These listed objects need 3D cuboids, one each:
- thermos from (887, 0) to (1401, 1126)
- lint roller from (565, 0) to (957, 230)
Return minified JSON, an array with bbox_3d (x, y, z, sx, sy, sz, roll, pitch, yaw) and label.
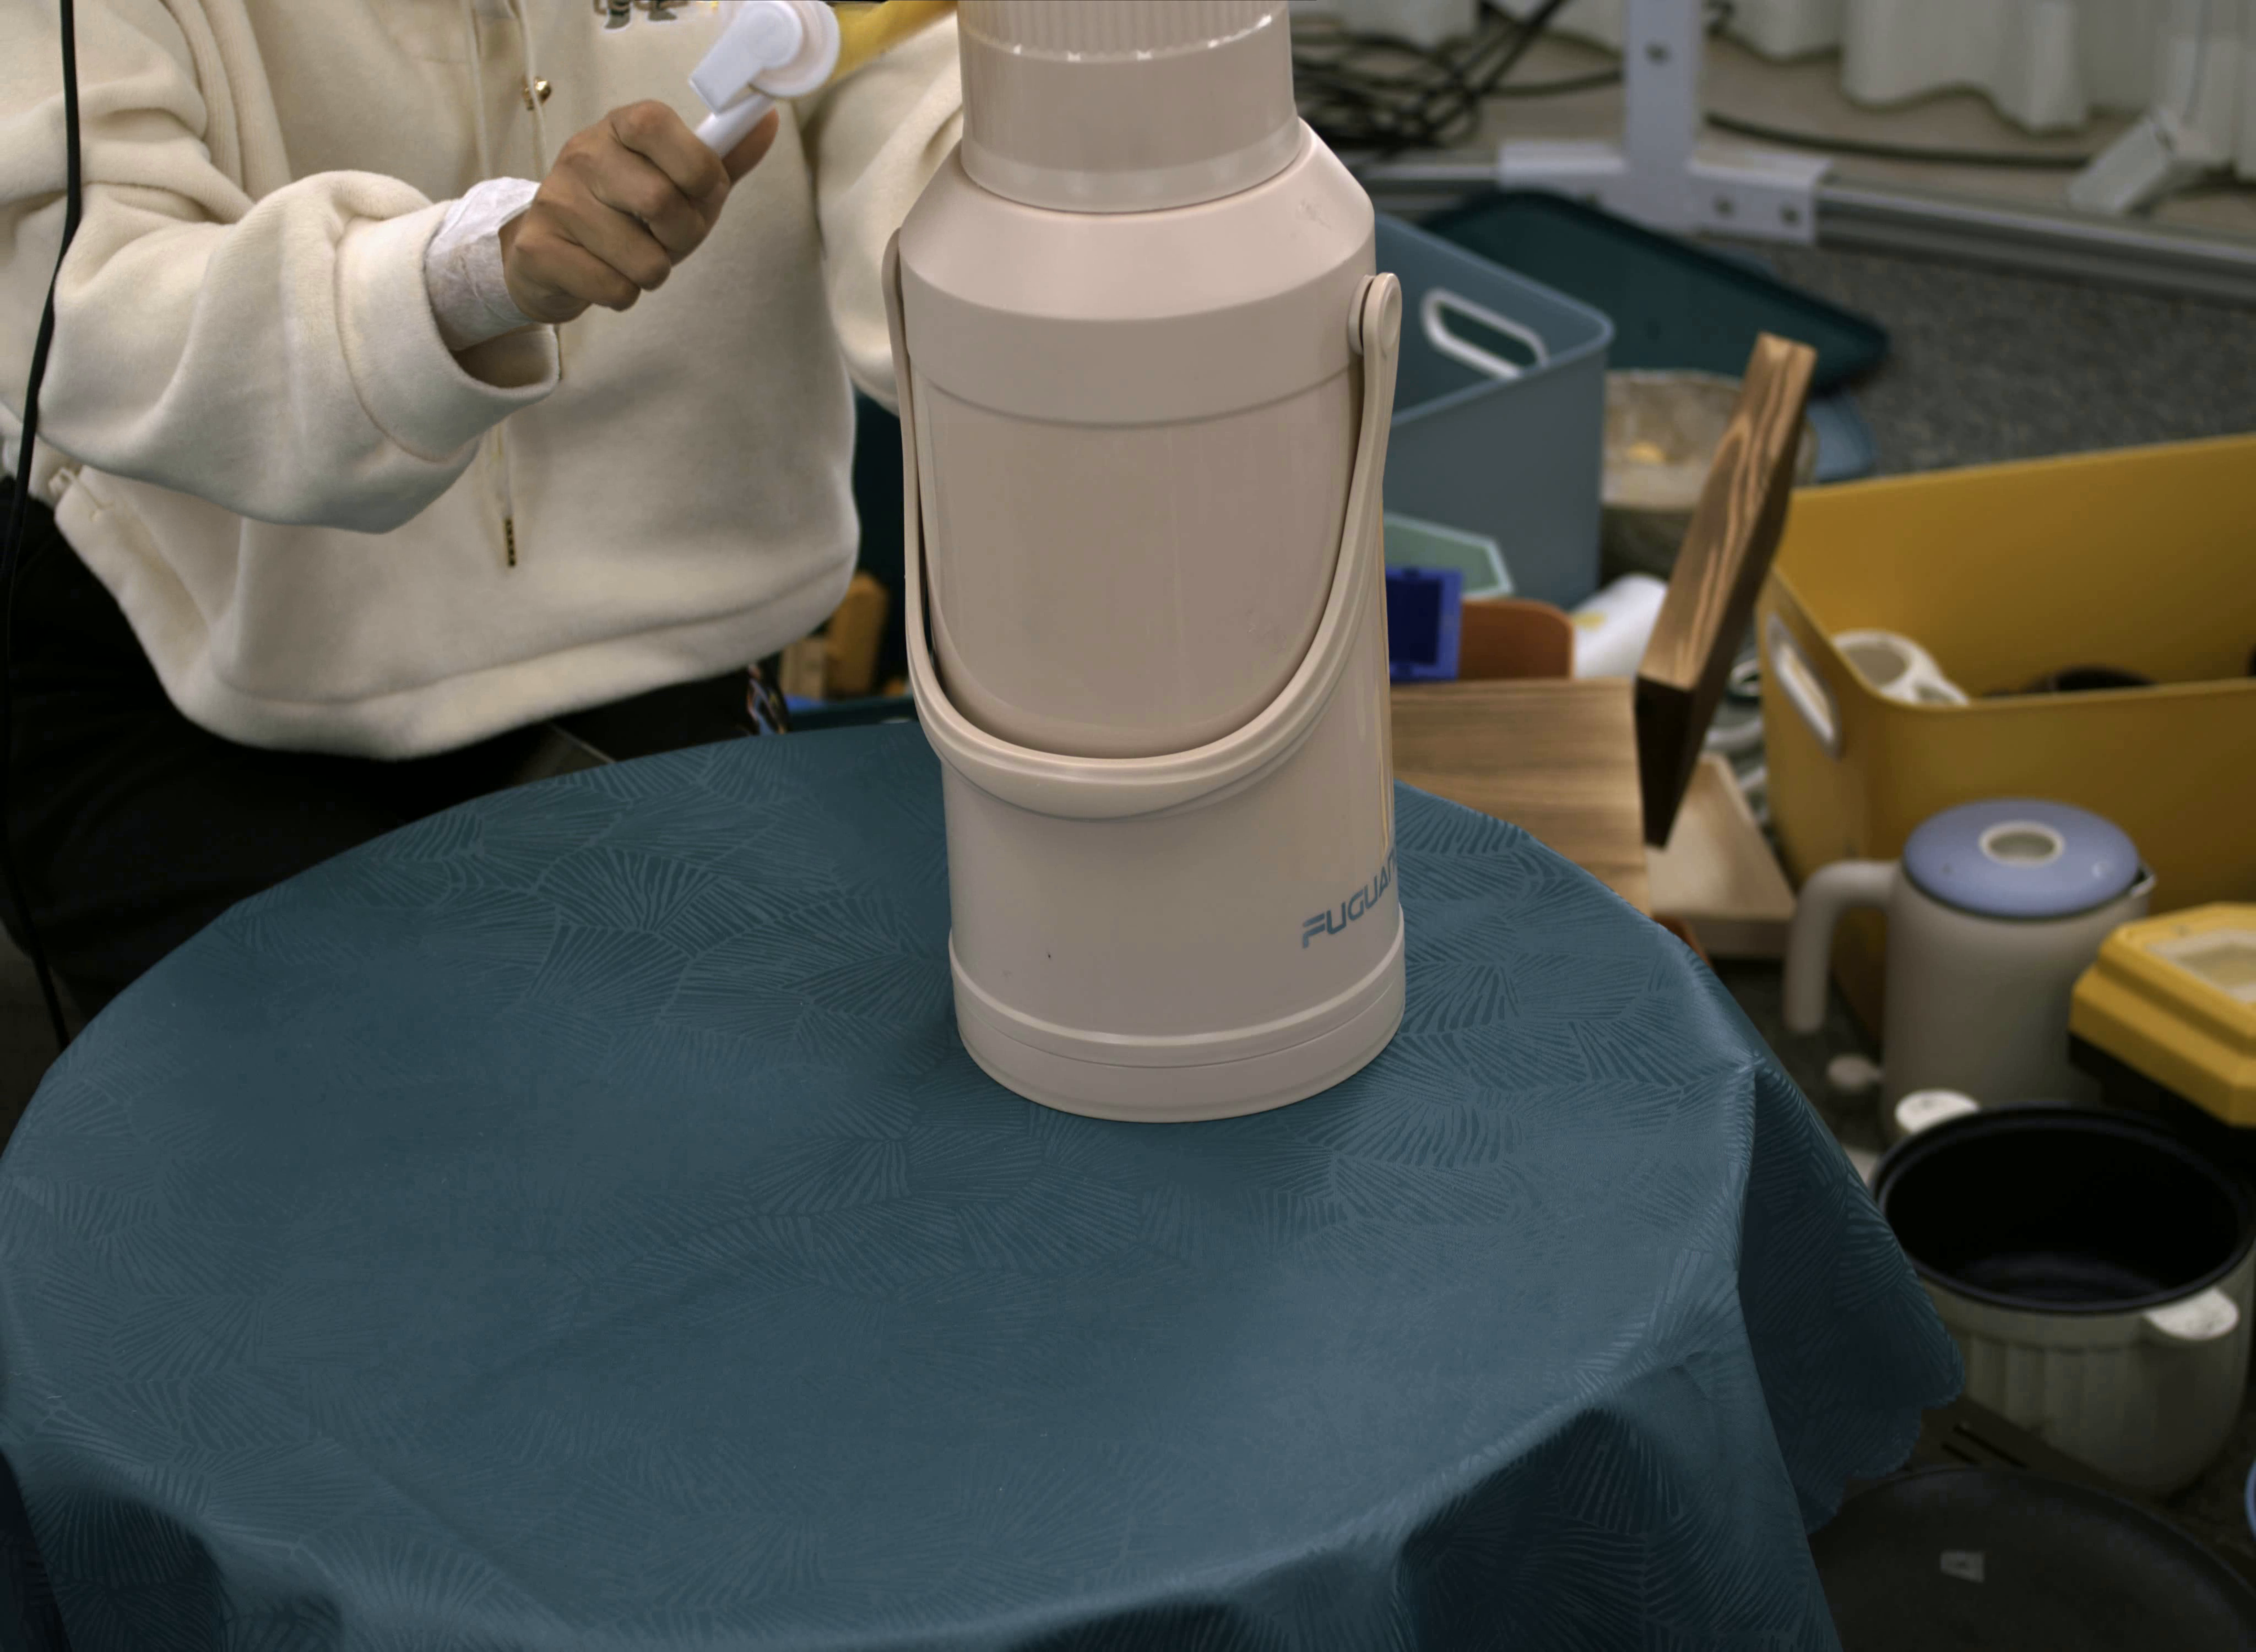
[{"bbox_3d":[0.014,-0.116,1.894,0.174,0.402,0.210,6,28,20],"label":"thermos"},{"bbox_3d":[-0.126,-0.258,1.872,0.189,0.051,0.177,-24,9,34],"label":"lint roller"}]
